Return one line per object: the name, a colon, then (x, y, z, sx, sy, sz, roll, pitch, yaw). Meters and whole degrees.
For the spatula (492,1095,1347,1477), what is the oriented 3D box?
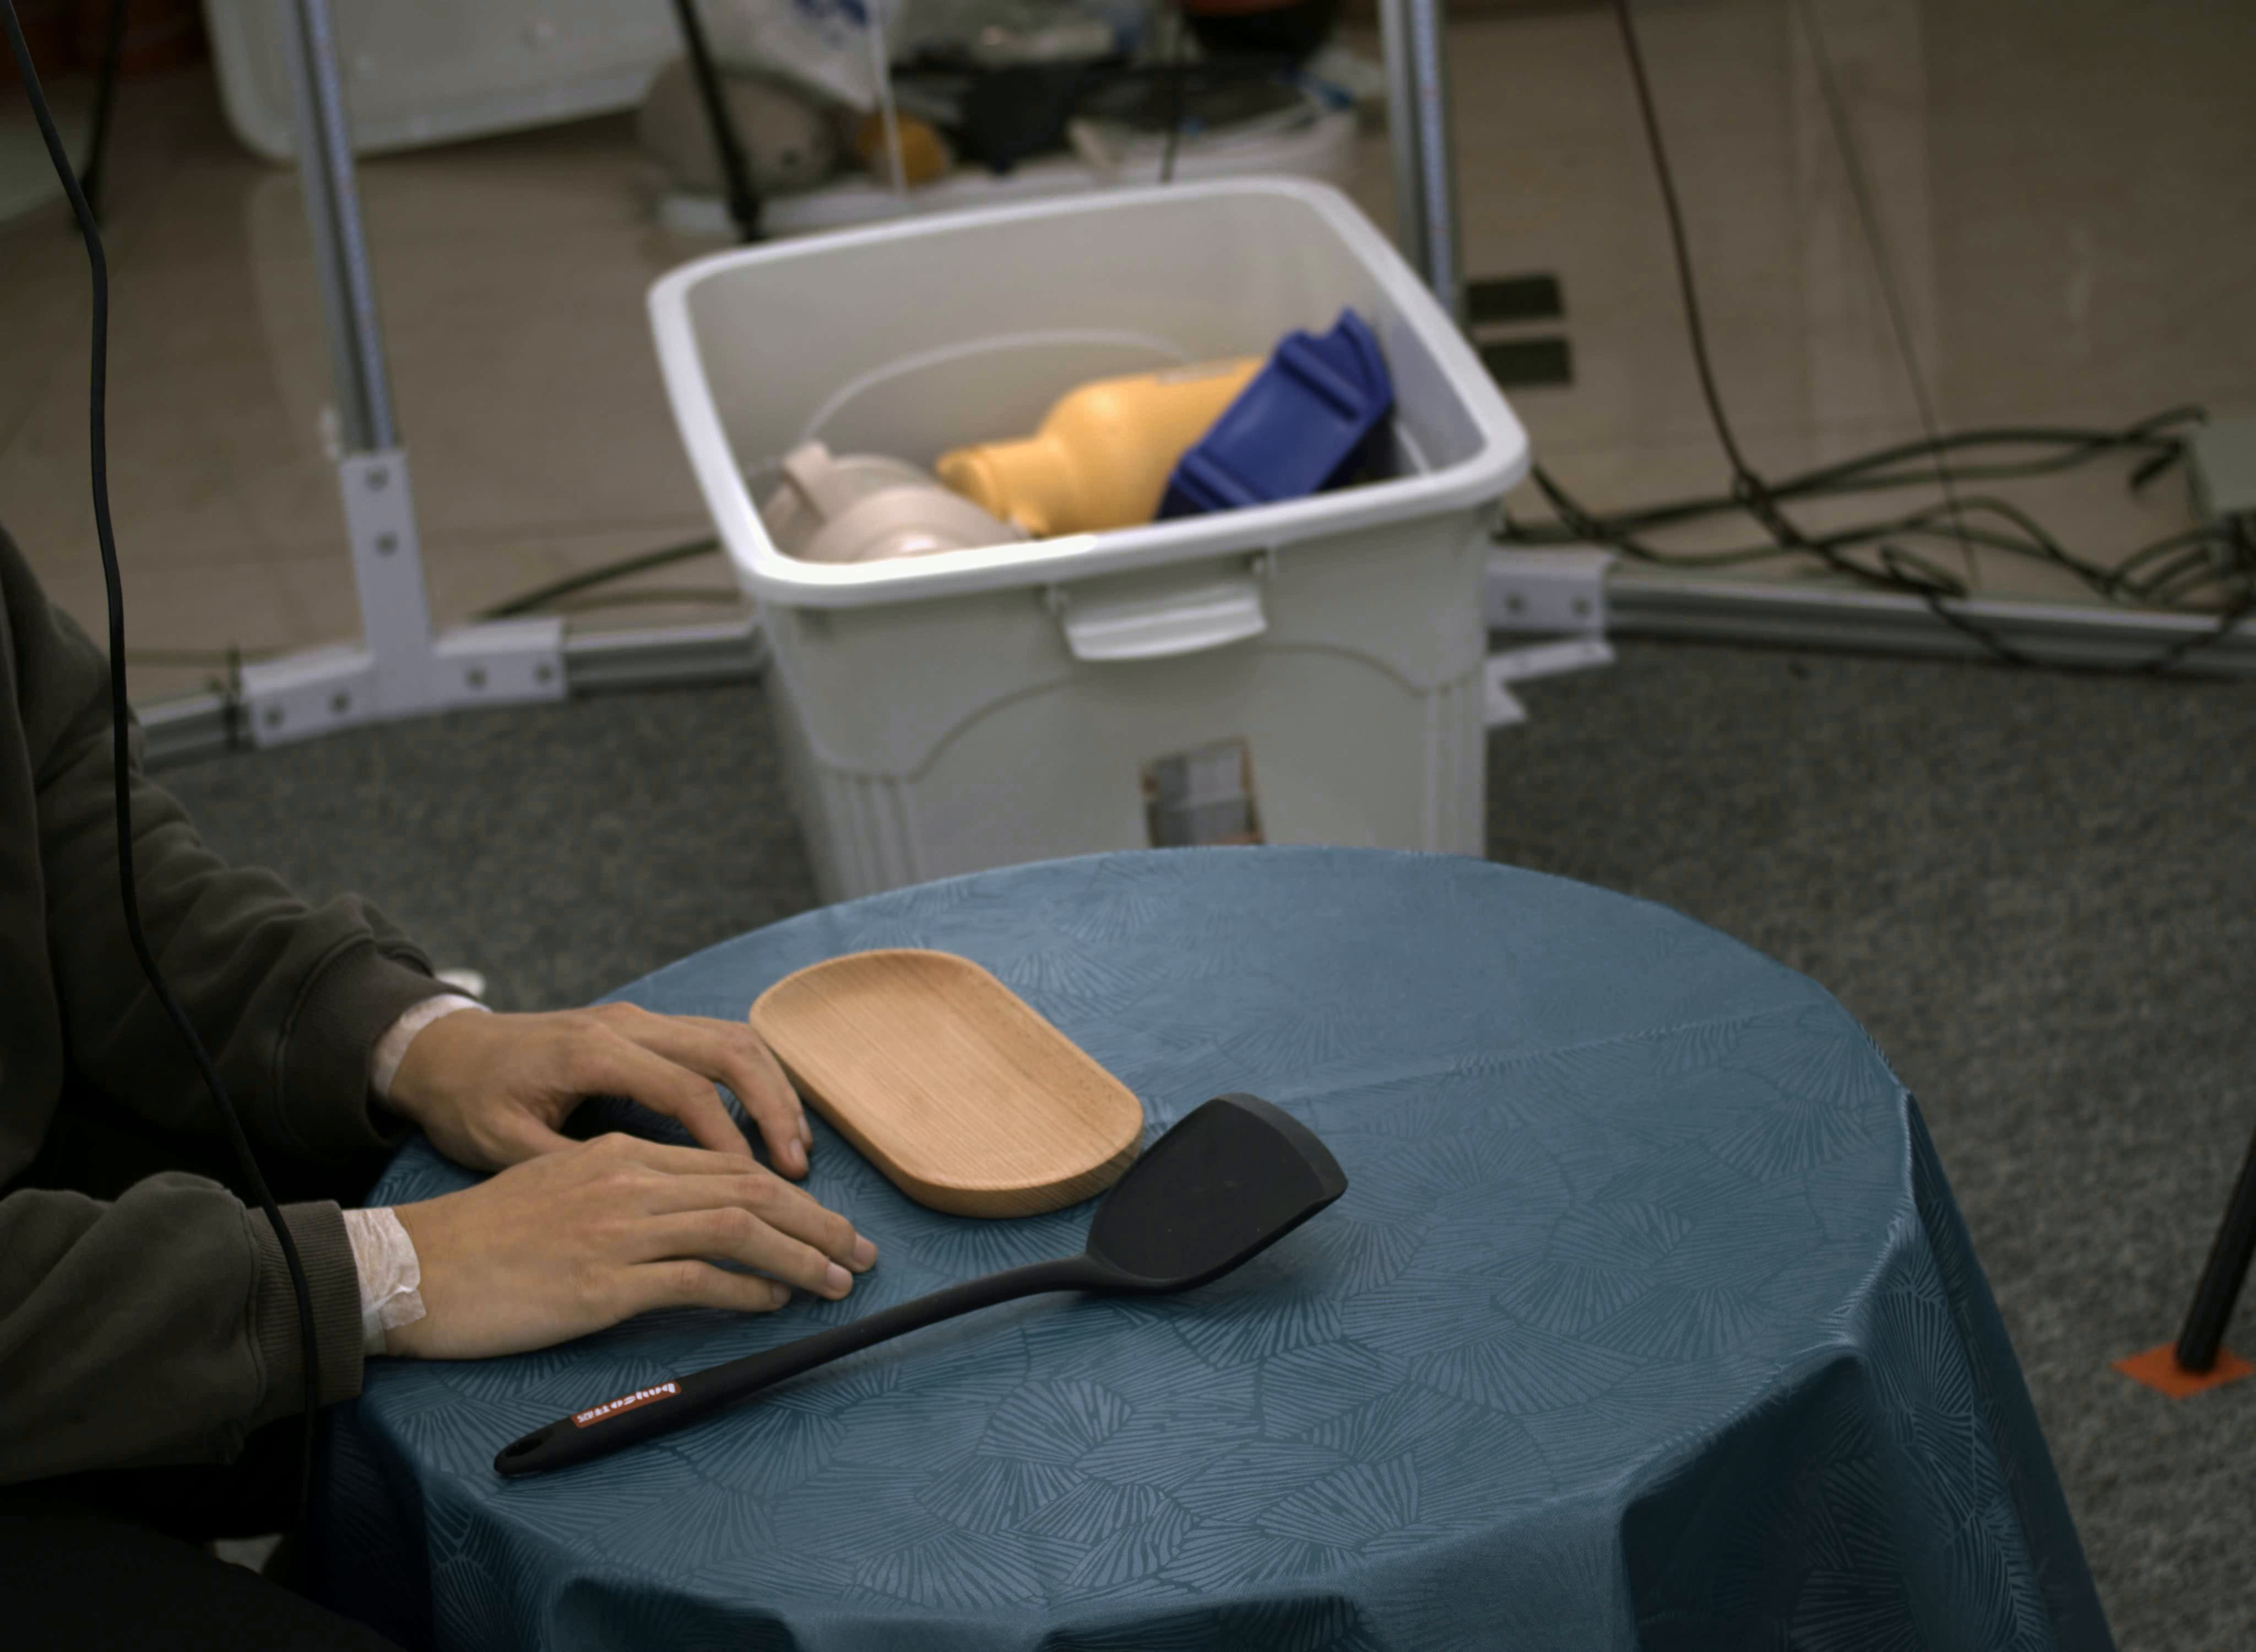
spatula: (-0.079, 0.172, 2.052, 0.325, 0.041, 0.098, -16, 25, -19)

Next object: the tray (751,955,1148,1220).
tray: (-0.072, 0.101, 2.227, 0.101, 0.020, 0.228, -18, 28, -22)
